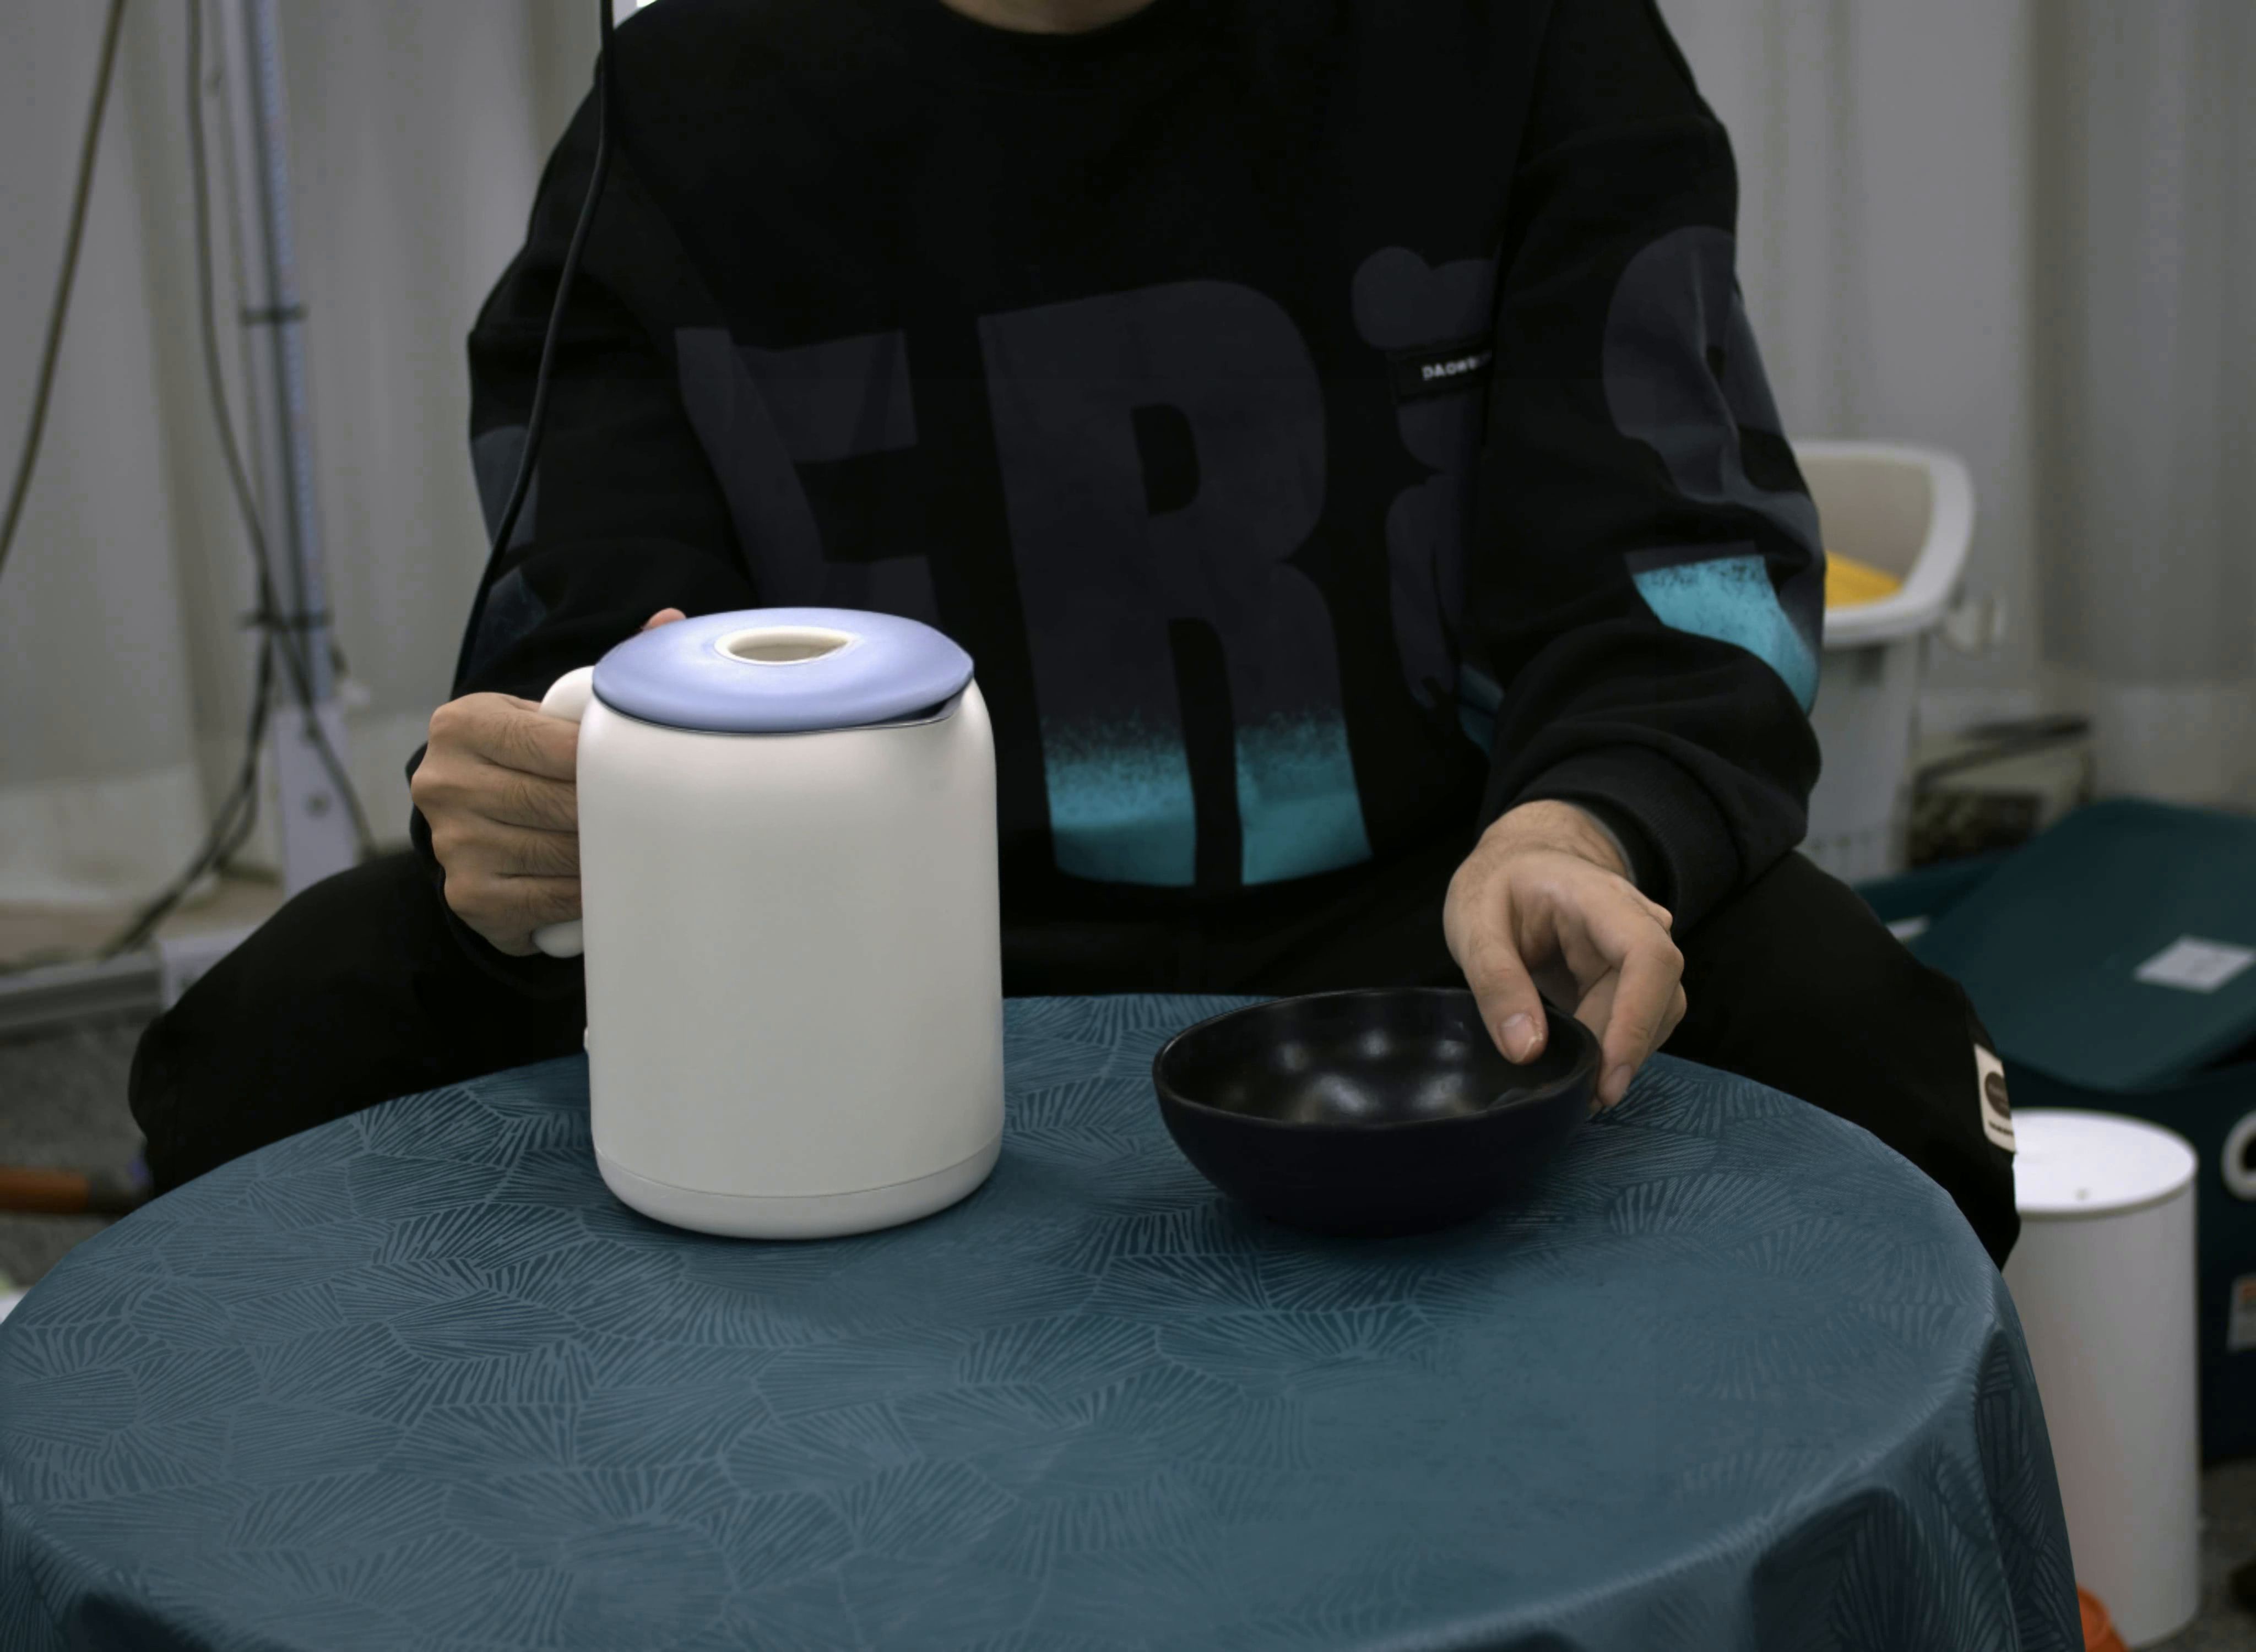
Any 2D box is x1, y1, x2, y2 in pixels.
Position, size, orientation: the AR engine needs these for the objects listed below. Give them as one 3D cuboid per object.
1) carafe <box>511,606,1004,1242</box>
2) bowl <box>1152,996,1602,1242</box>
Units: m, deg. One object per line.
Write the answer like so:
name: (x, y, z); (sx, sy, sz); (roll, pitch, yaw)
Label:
carafe: (-0.125, 0.026, 1.729); (0.192, 0.182, 0.132); (10, 18, 40)
bowl: (0.078, 0.094, 1.683); (0.139, 0.049, 0.141); (-4, 13, 1)
